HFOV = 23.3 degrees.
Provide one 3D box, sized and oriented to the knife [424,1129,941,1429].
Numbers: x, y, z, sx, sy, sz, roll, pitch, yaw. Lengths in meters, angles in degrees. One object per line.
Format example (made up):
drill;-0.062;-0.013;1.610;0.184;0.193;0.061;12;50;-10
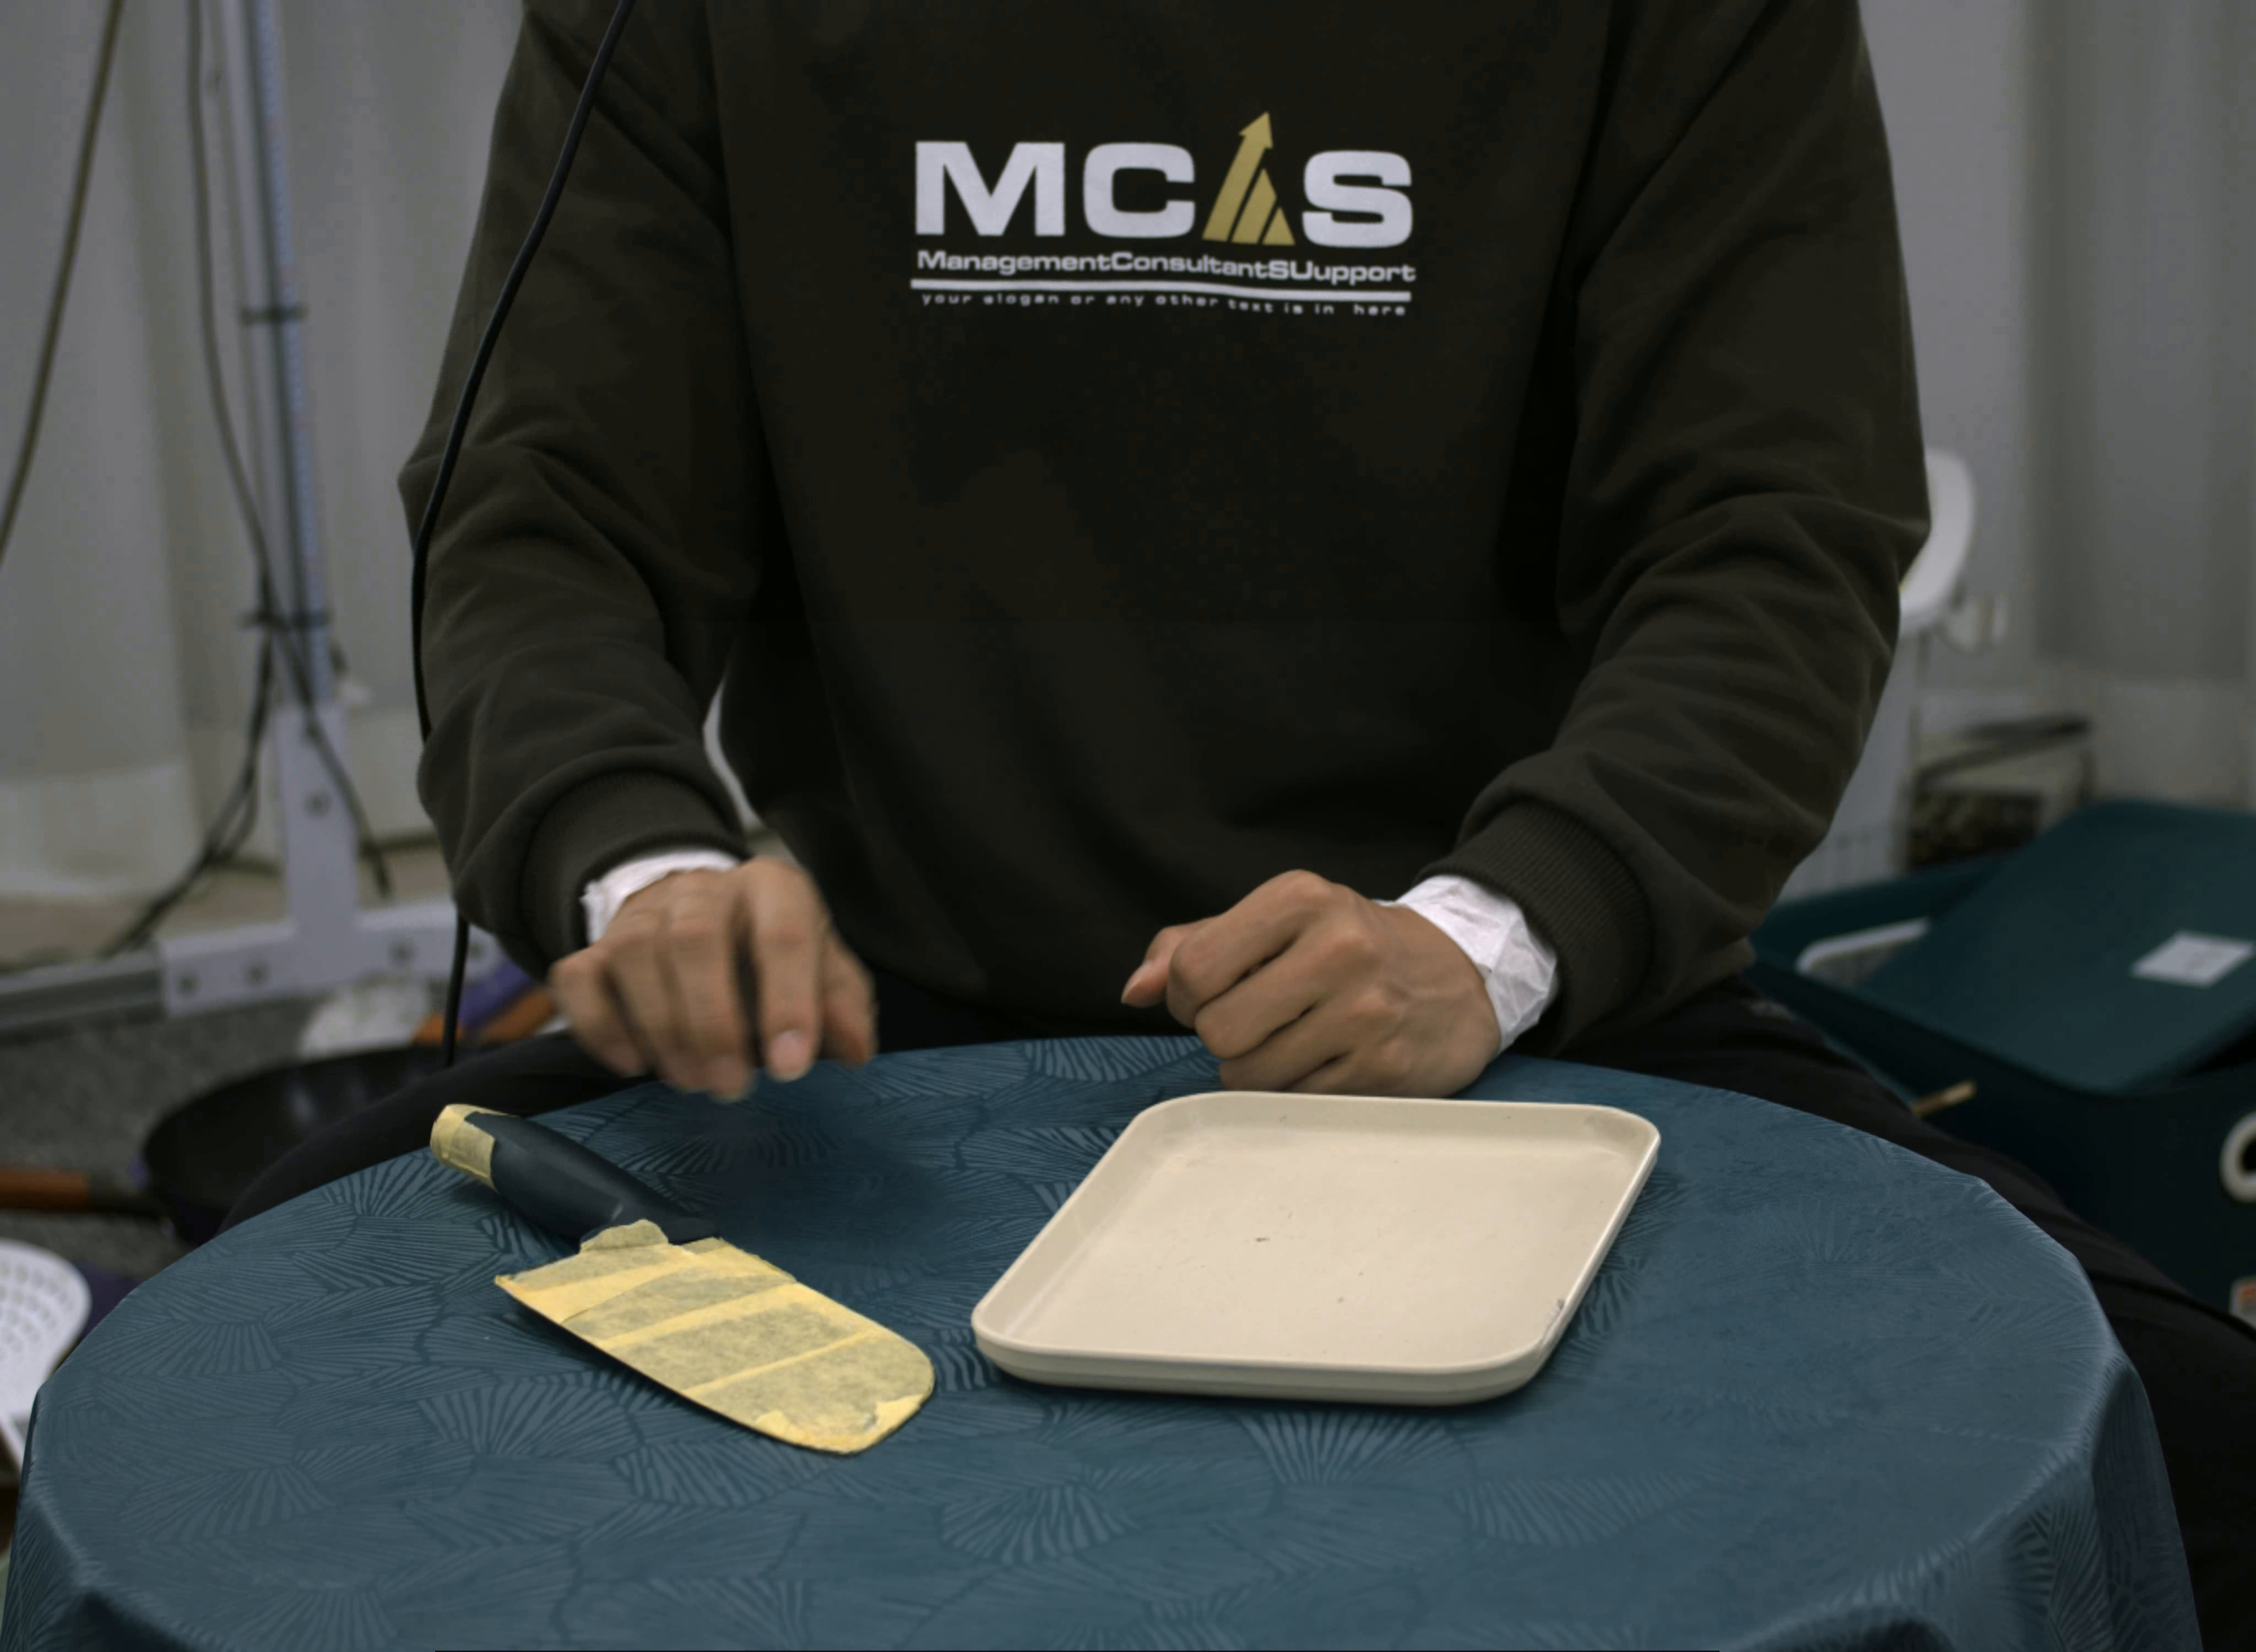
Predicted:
knife;-0.146;0.137;1.633;0.080;0.027;0.291;-10;17;-32

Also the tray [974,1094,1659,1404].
tray;0.061;0.125;1.633;0.171;0.017;0.240;1;15;16
